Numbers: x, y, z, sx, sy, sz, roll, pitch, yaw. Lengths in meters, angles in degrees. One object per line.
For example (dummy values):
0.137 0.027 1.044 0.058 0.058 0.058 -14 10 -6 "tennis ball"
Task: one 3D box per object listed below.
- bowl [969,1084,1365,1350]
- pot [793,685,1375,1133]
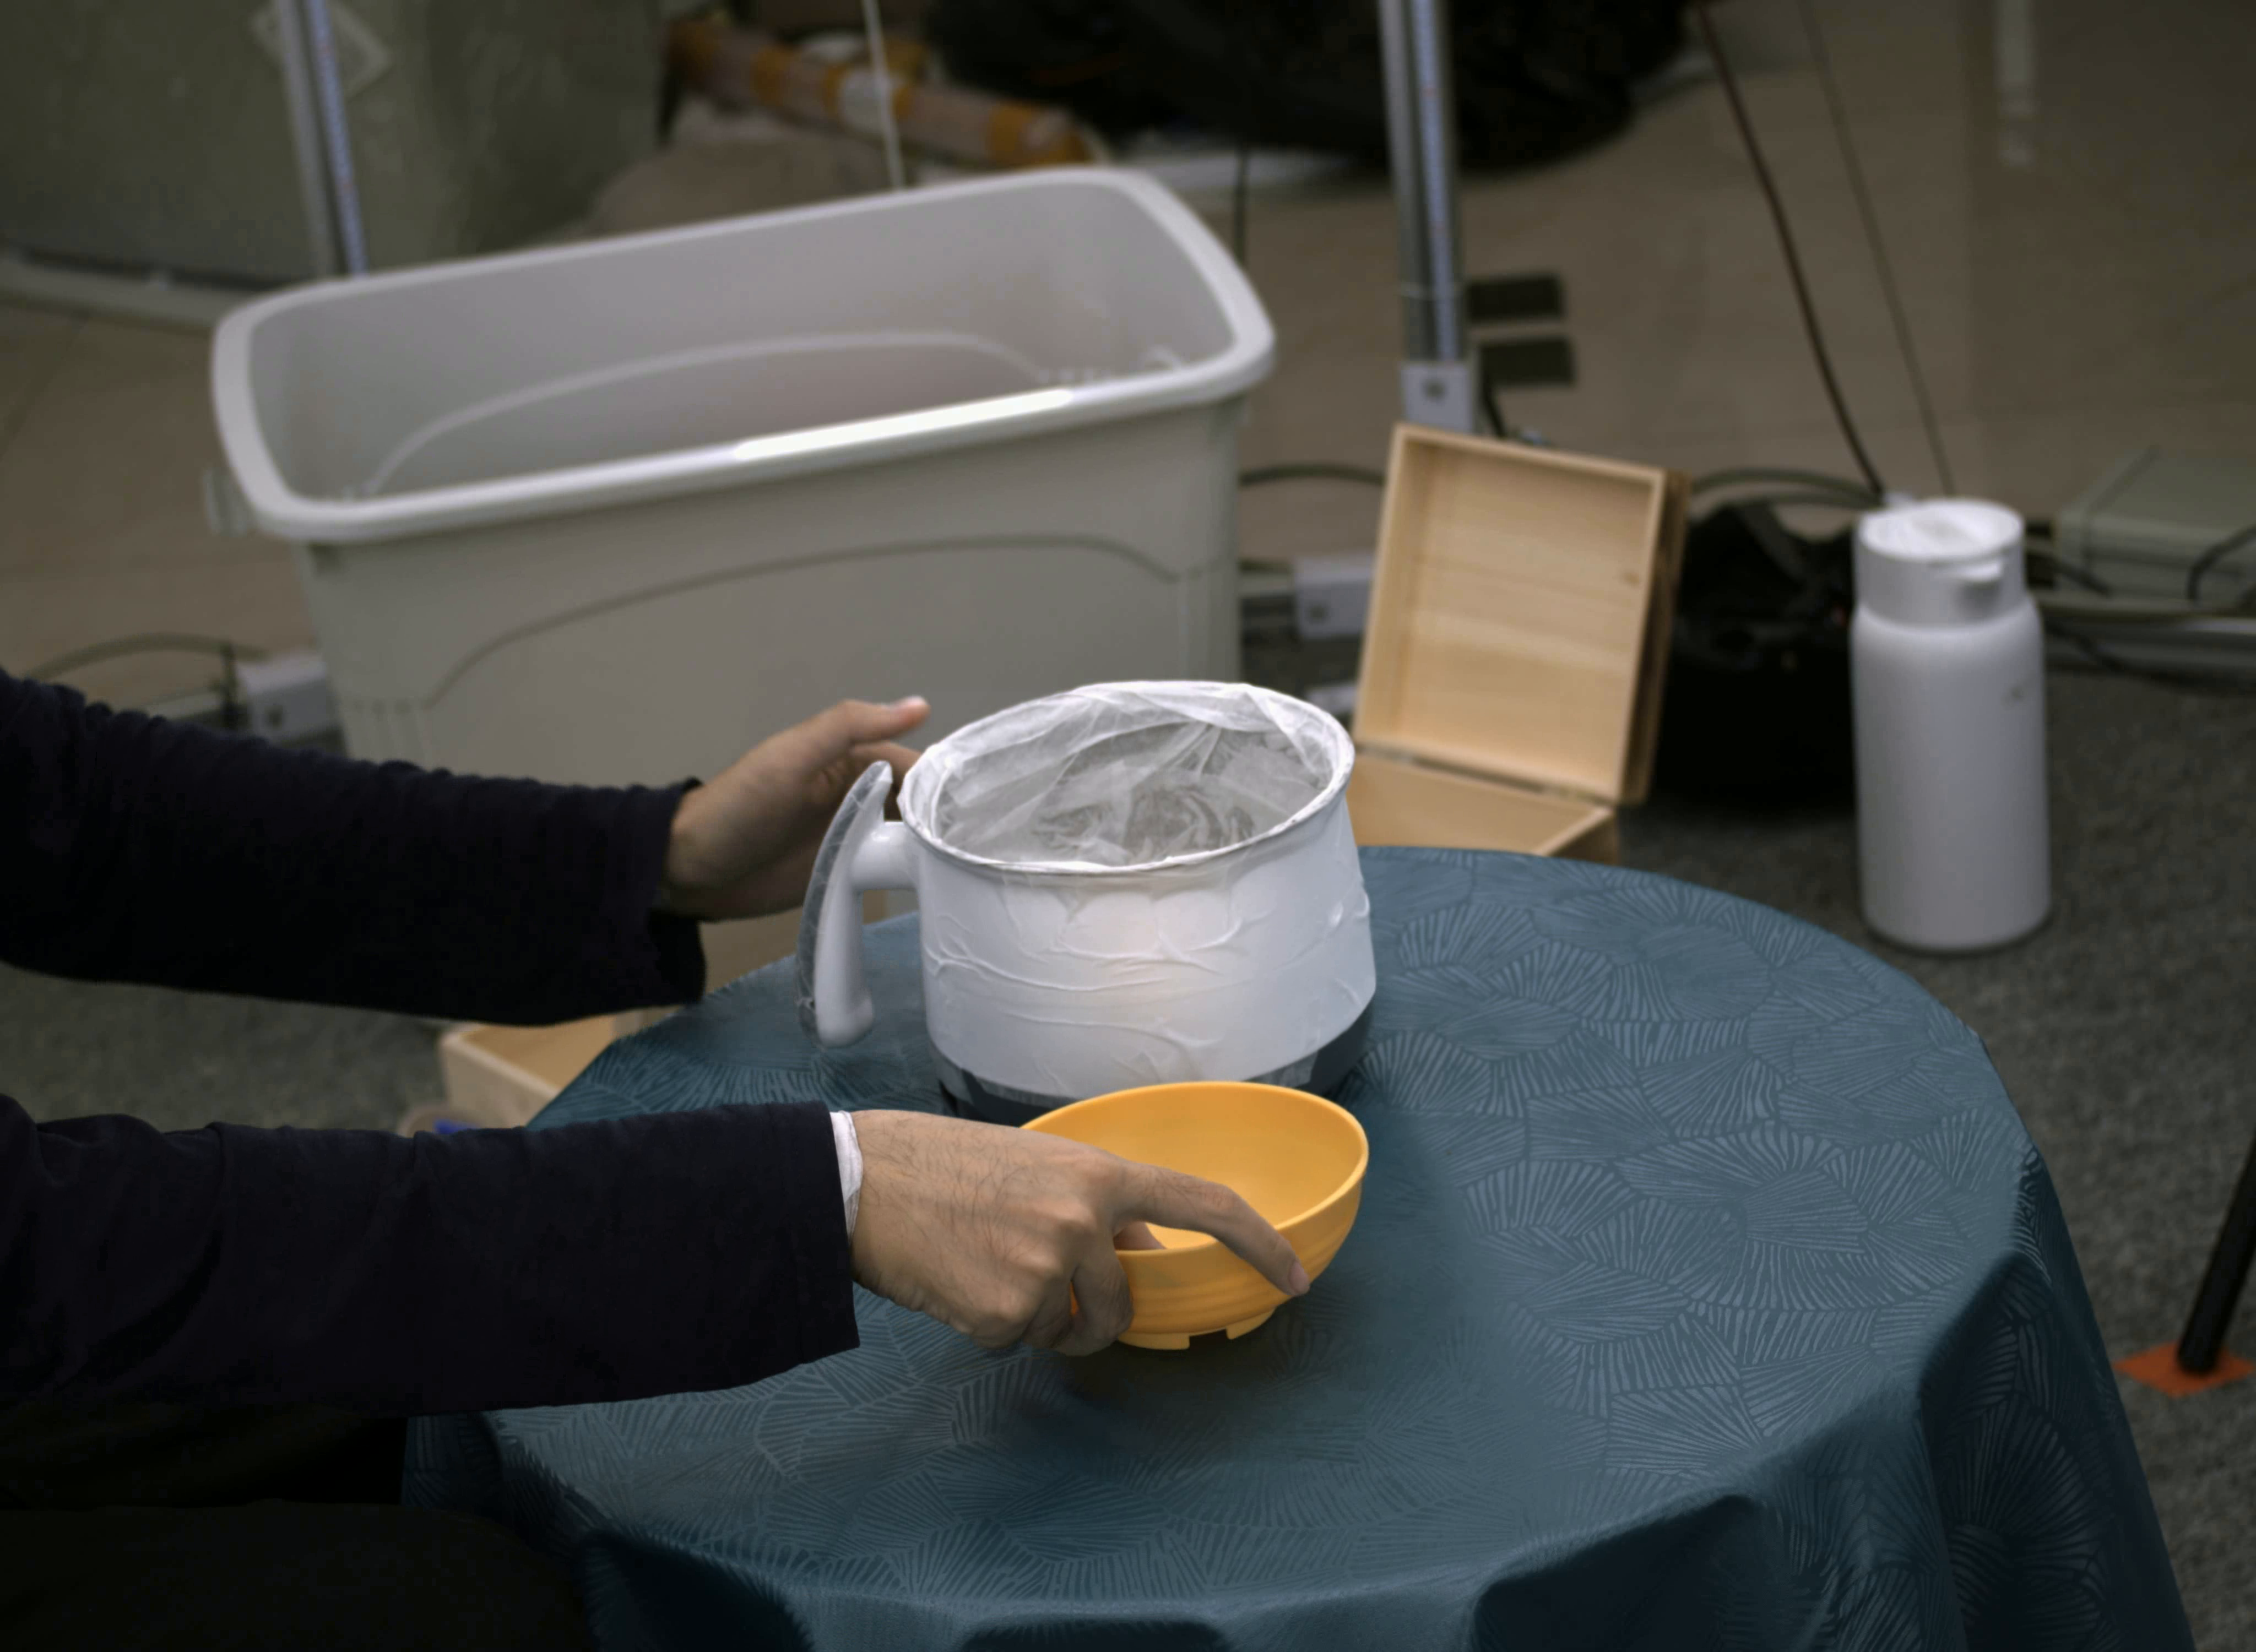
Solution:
0.017 0.148 2.052 0.145 0.061 0.143 -6 22 2 "bowl"
-0.021 0.036 2.211 0.233 0.138 0.176 0 23 12 "pot"
